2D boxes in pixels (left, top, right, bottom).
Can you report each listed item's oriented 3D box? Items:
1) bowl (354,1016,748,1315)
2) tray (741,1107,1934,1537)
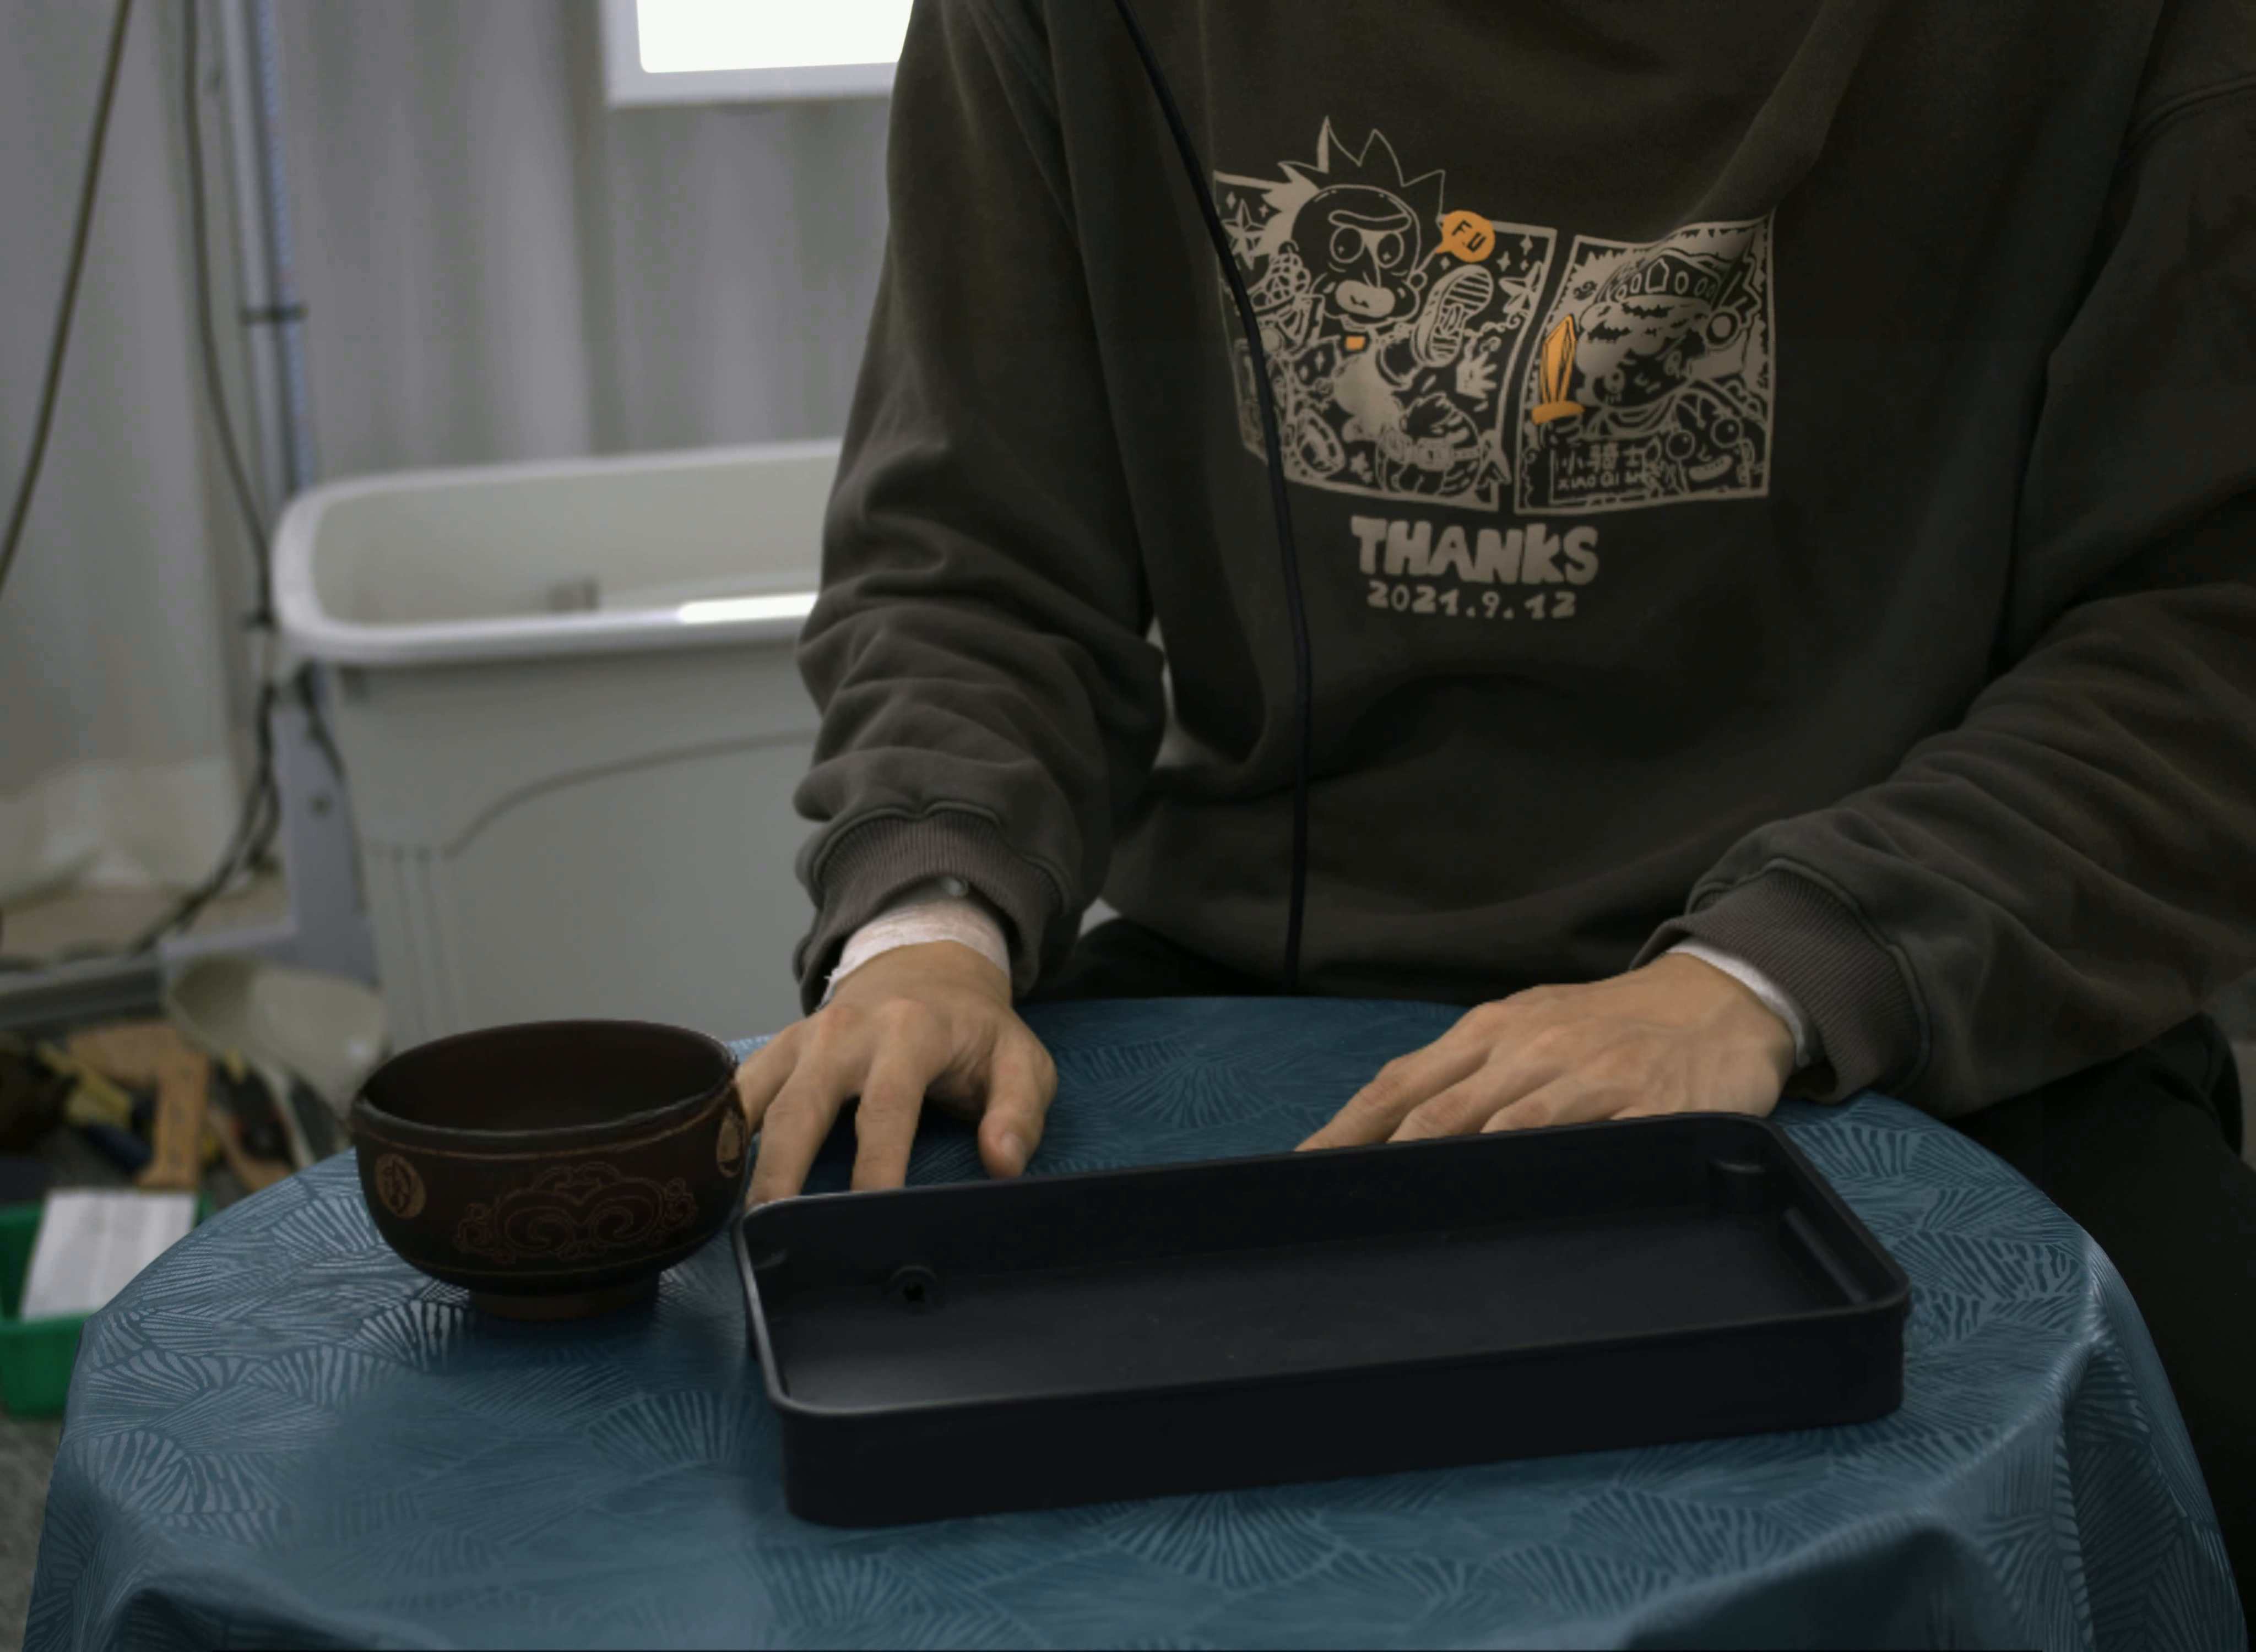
[{"bbox_3d":[-0.173,0.106,1.650,0.117,0.069,0.119,-2,13,0],"label":"bowl"},{"bbox_3d":[0.056,0.138,1.559,0.316,0.037,0.185,-6,15,-9],"label":"tray"}]
